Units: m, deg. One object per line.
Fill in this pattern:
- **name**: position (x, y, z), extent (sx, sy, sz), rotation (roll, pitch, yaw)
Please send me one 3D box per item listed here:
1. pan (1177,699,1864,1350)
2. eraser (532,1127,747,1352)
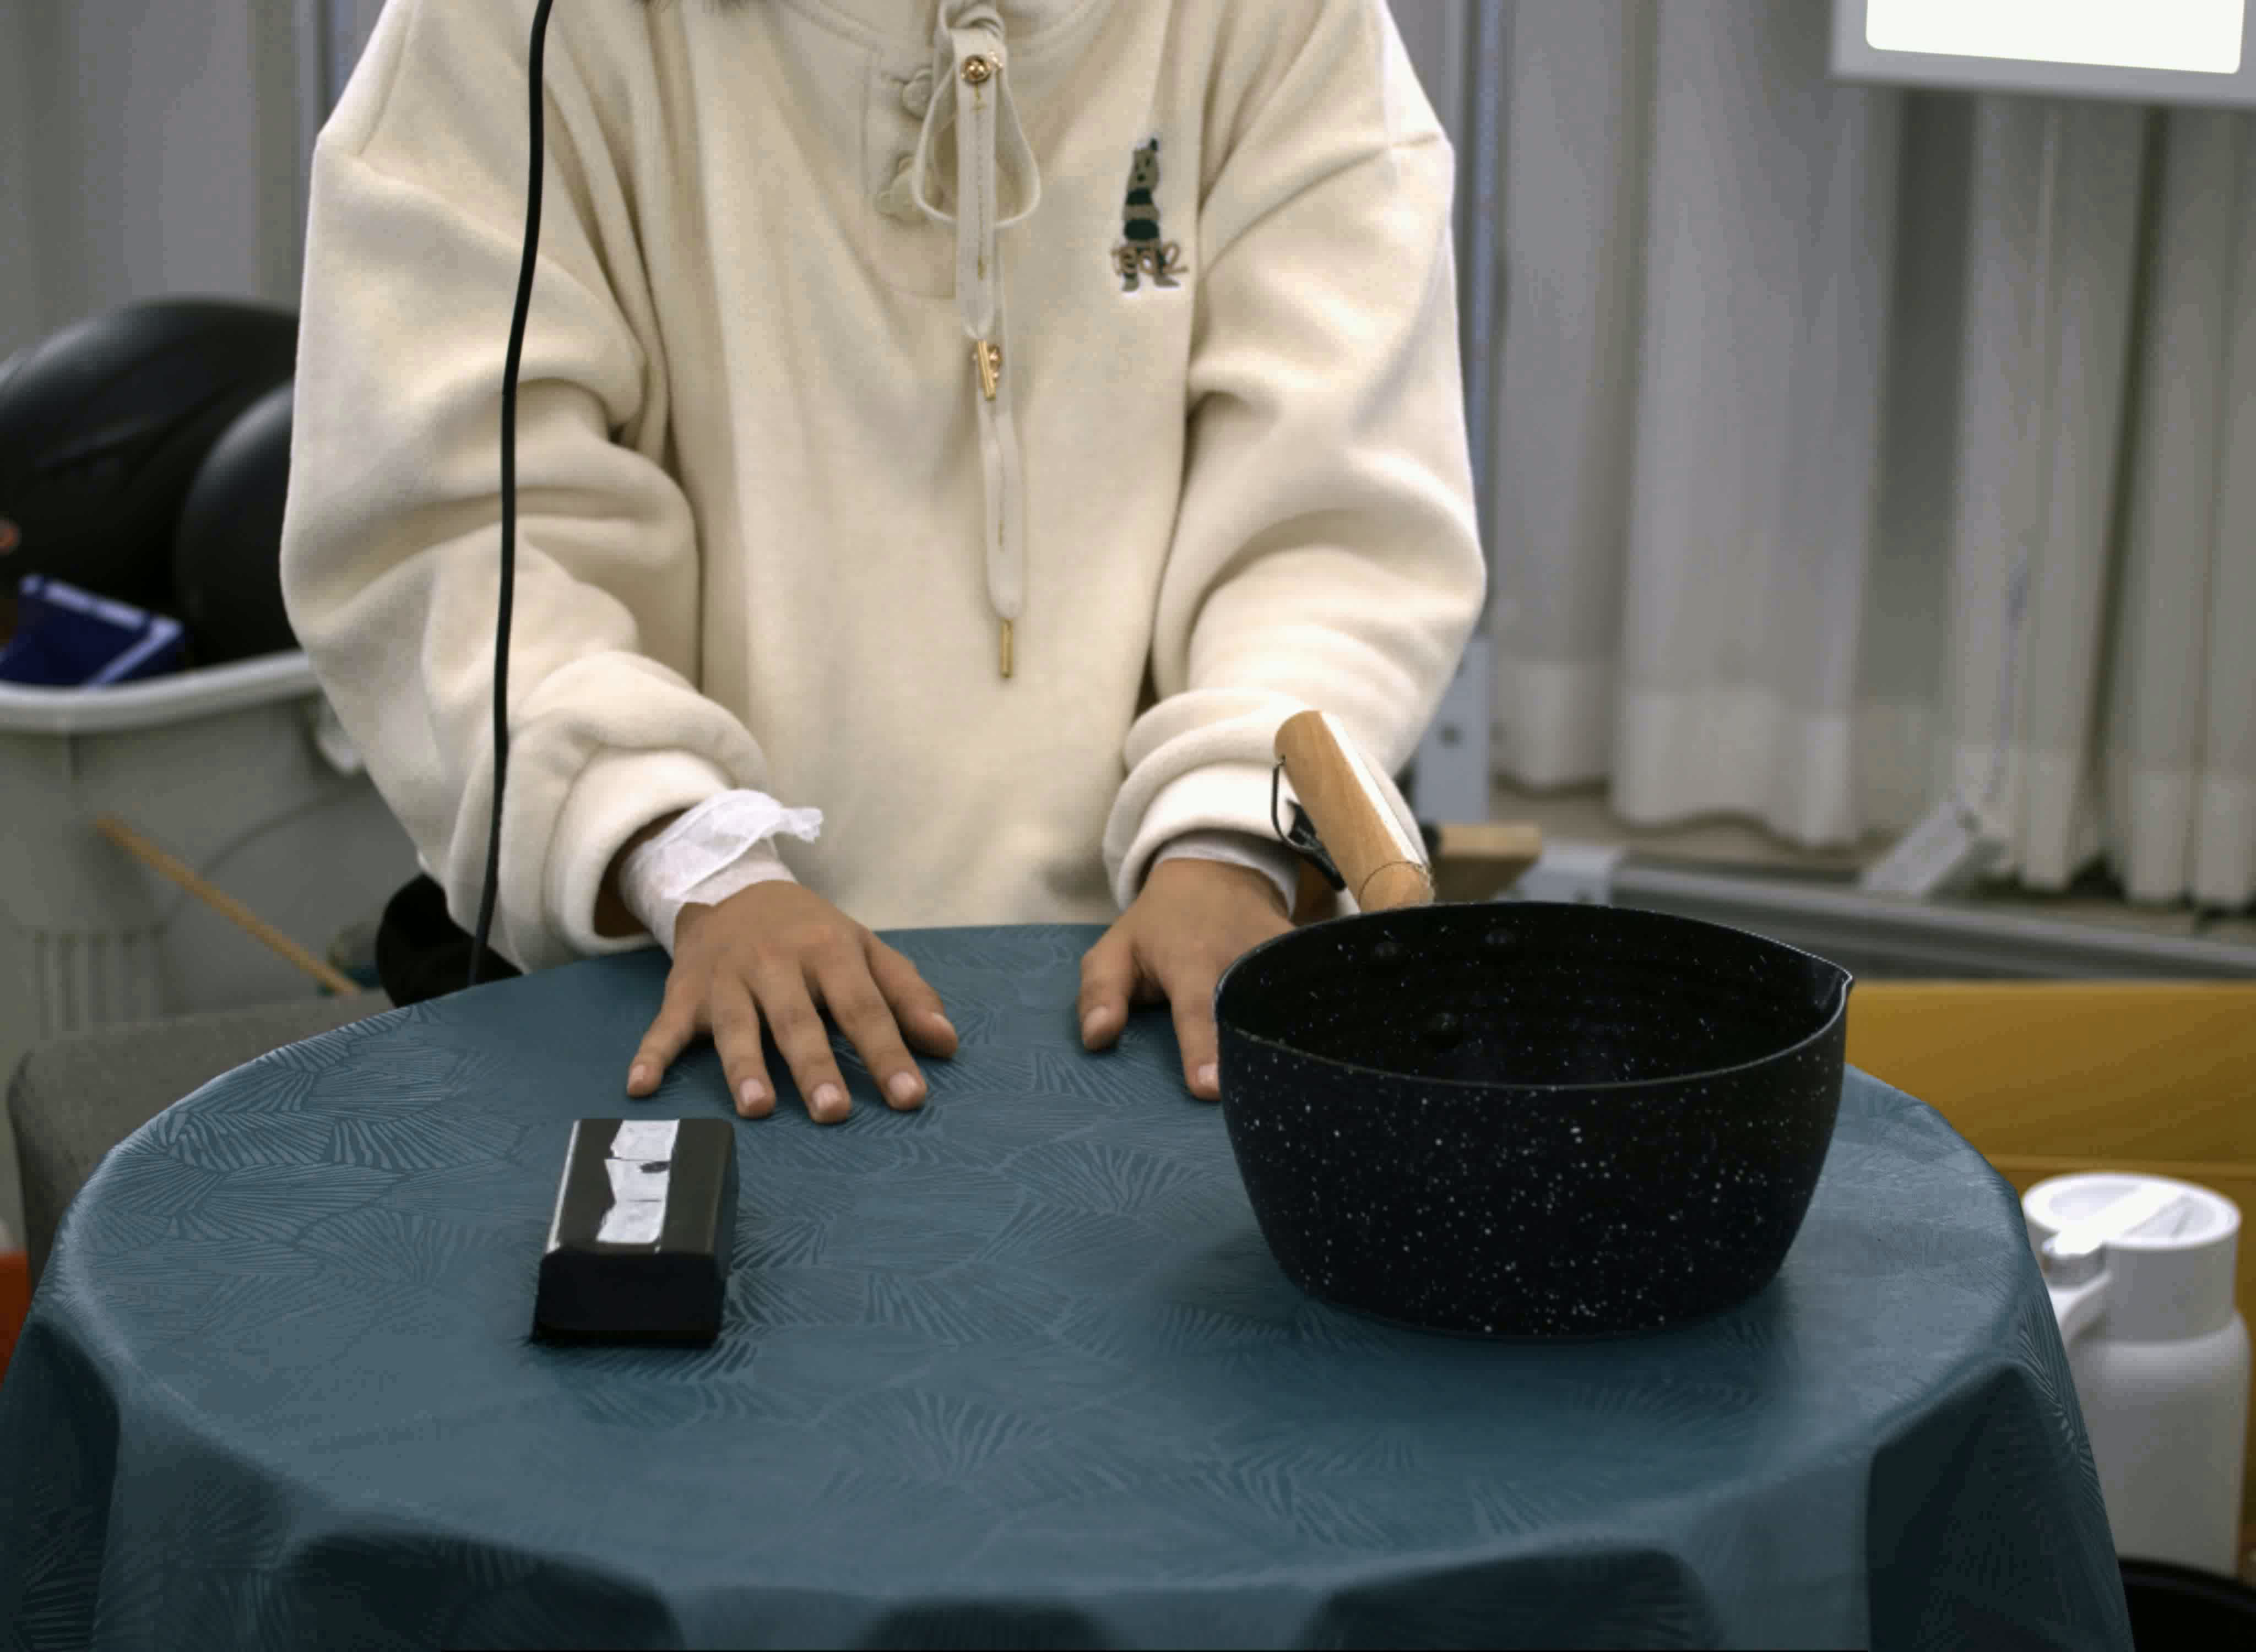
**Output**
- **pan**: position (0.099, 0.056, 1.625), extent (0.208, 0.109, 0.339), rotation (-5, 18, -14)
- **eraser**: position (-0.142, 0.120, 1.540), extent (0.053, 0.031, 0.125), rotation (1, 14, -1)
